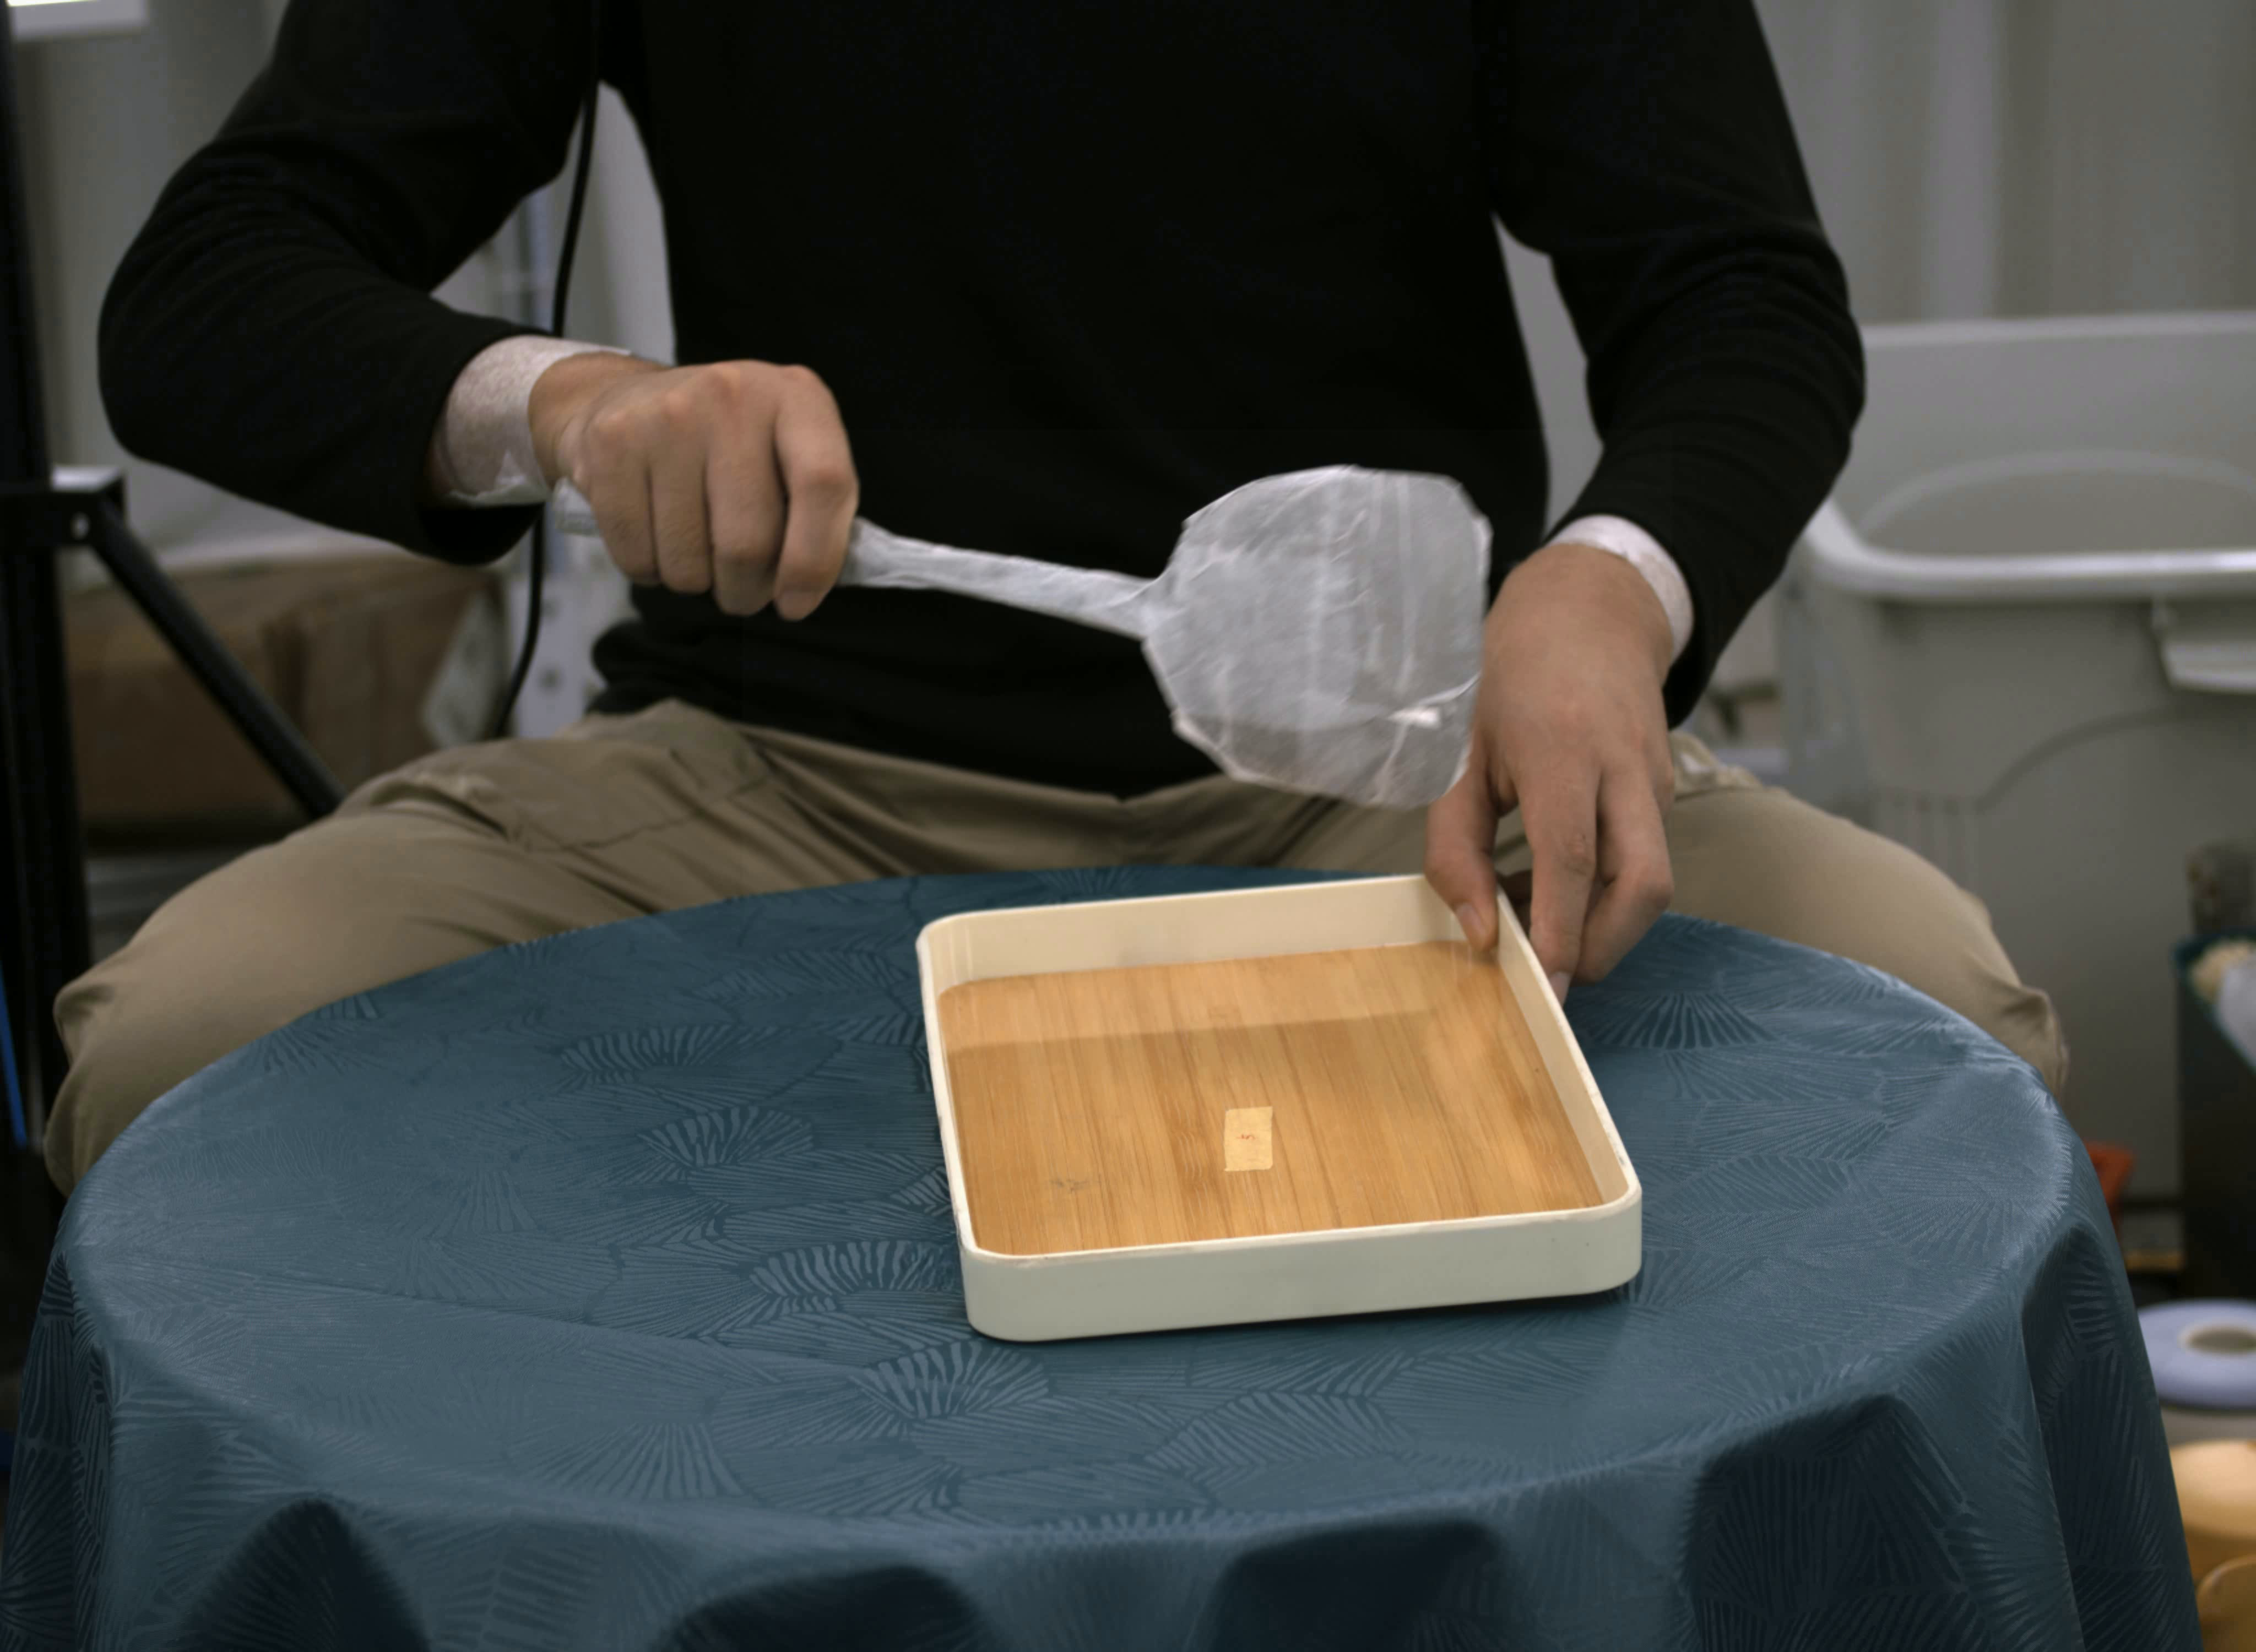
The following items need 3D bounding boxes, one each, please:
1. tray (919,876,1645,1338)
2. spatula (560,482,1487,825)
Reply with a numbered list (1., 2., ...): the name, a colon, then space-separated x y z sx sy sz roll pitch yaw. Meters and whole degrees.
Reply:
1. tray: 0.038 0.079 1.581 0.190 0.027 0.302 -5 18 -2
2. spatula: -0.042 -0.073 1.628 0.043 0.099 0.373 -2 11 -44
